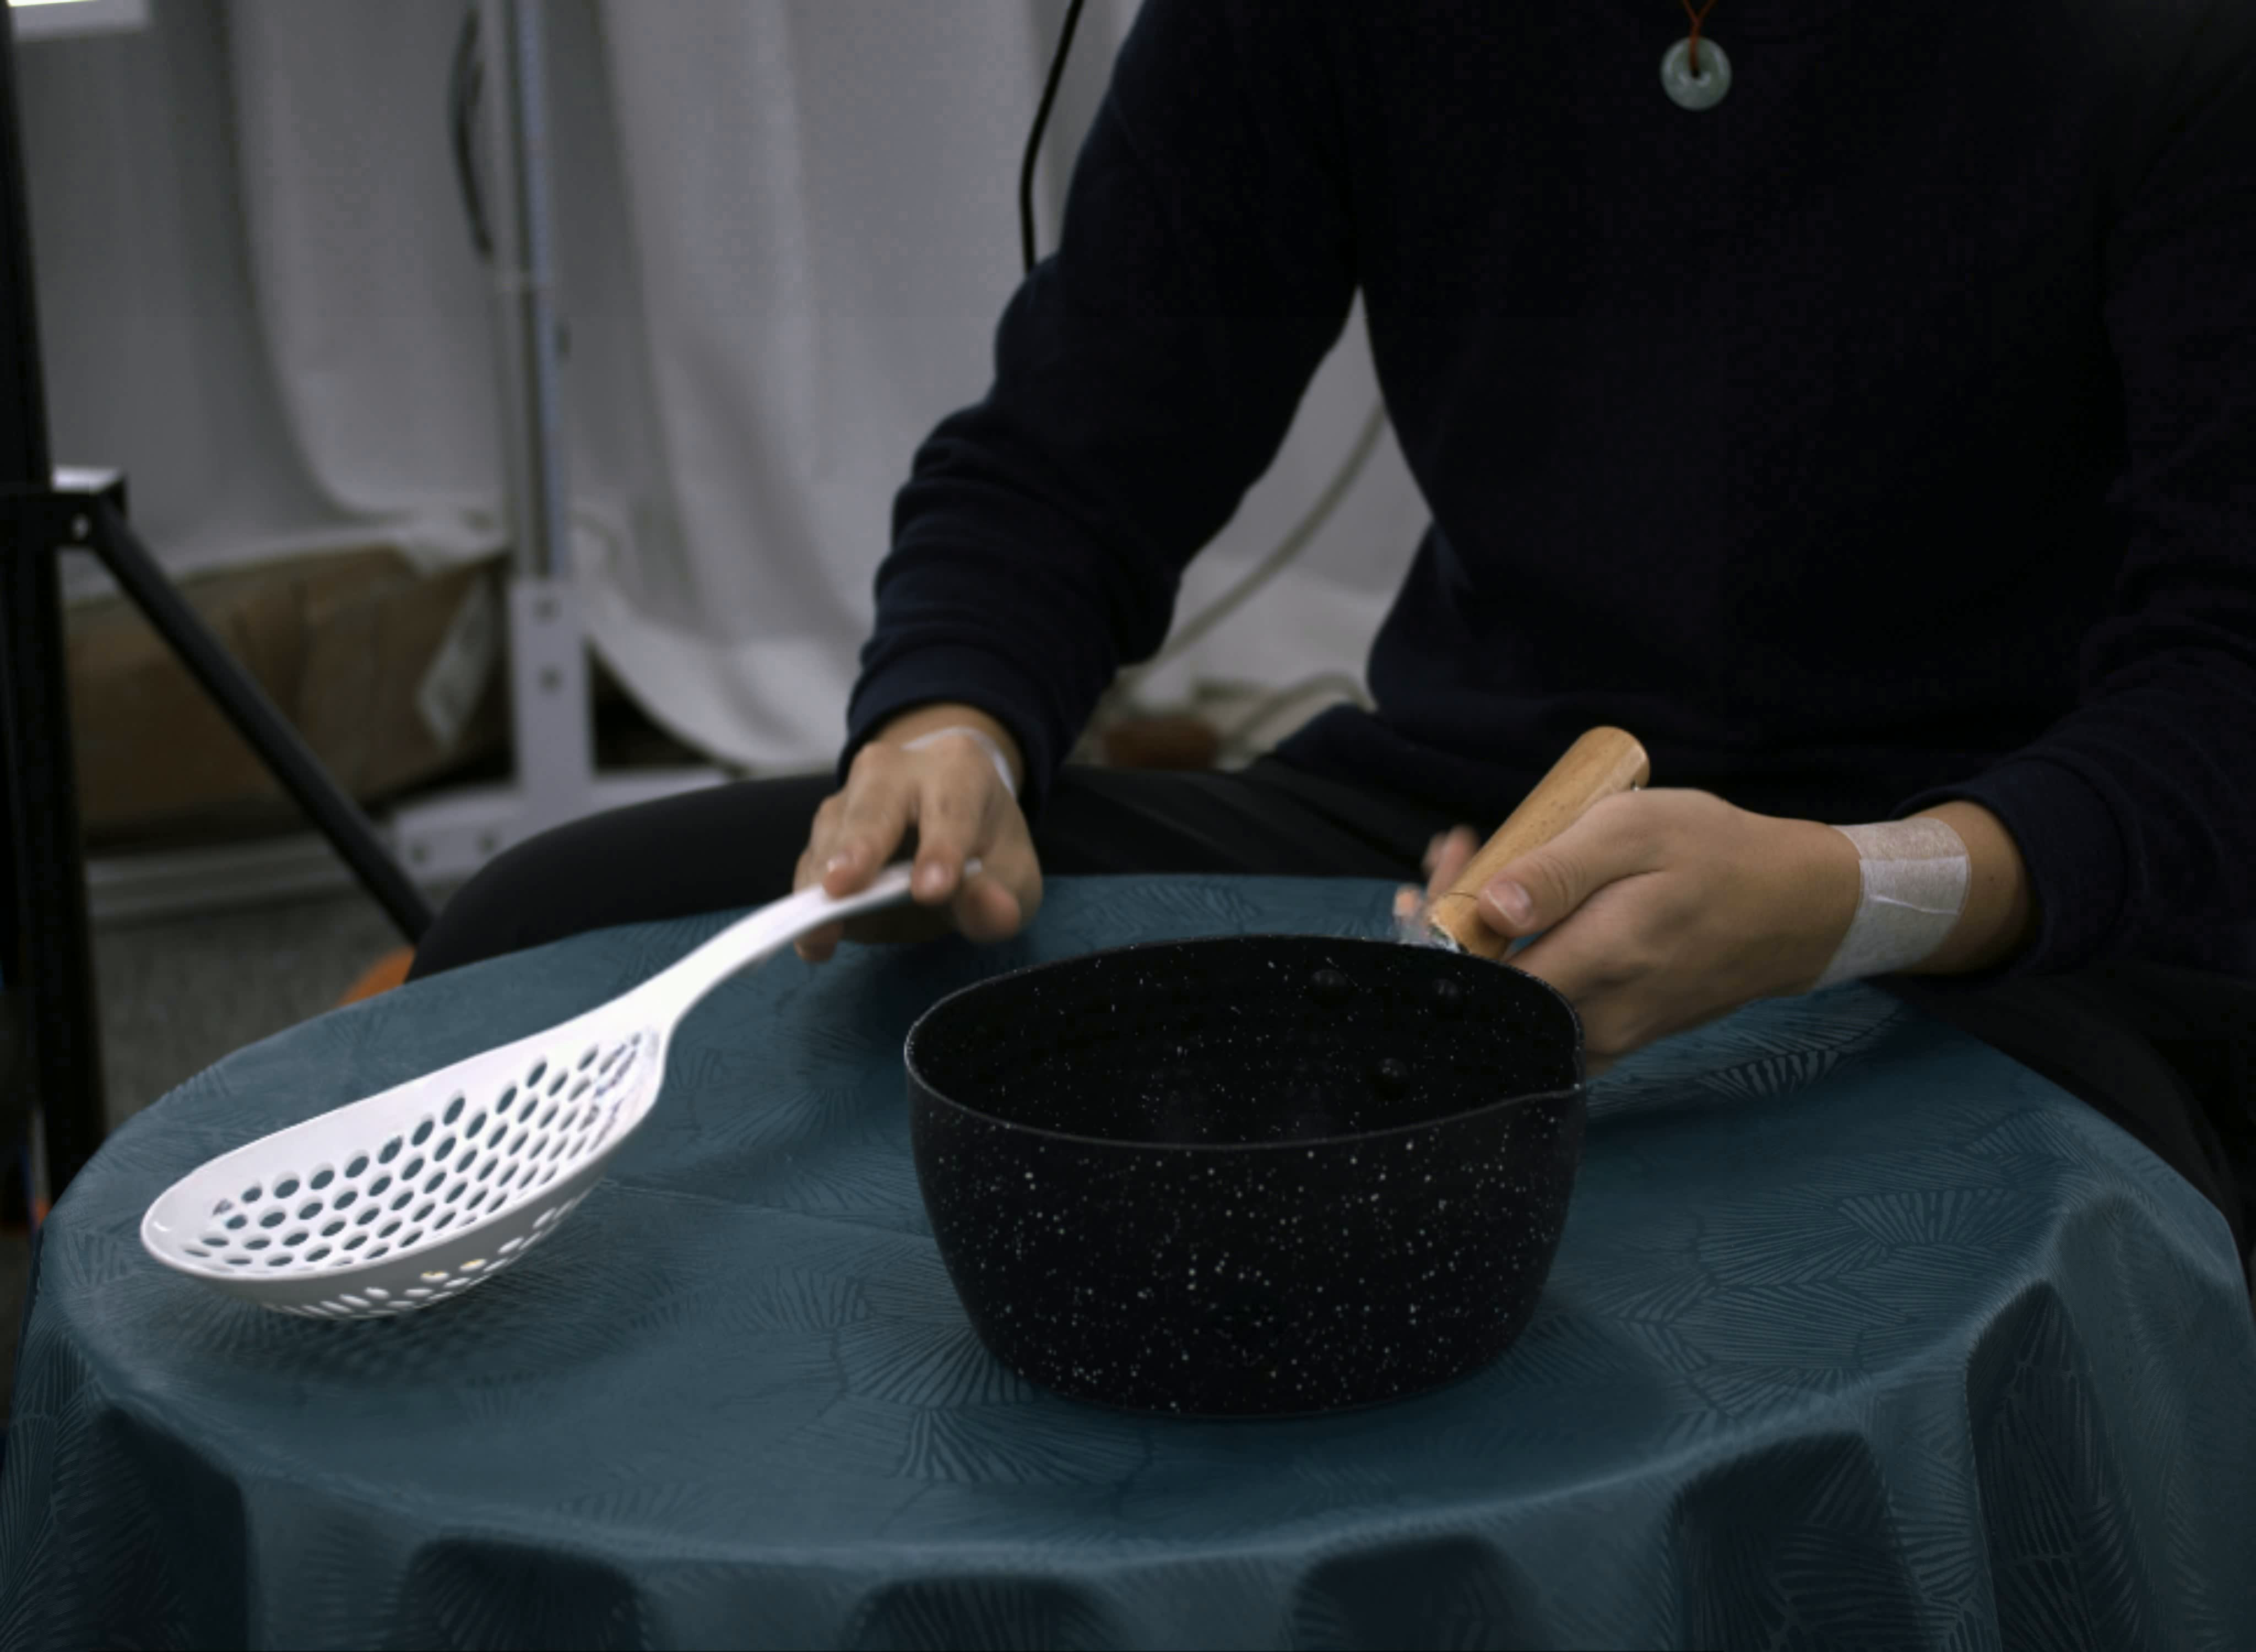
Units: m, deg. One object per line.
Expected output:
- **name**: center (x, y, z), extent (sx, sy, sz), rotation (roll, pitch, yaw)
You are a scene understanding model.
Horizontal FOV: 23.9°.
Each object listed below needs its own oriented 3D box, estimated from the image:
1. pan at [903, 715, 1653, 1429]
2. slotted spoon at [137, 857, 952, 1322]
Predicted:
- **pan**: center (0.070, 0.064, 1.501), extent (0.211, 0.108, 0.337), rotation (5, 19, 29)
- **slotted spoon**: center (-0.148, 0.066, 1.579), extent (0.139, 0.050, 0.343), rotation (-2, 25, 36)
